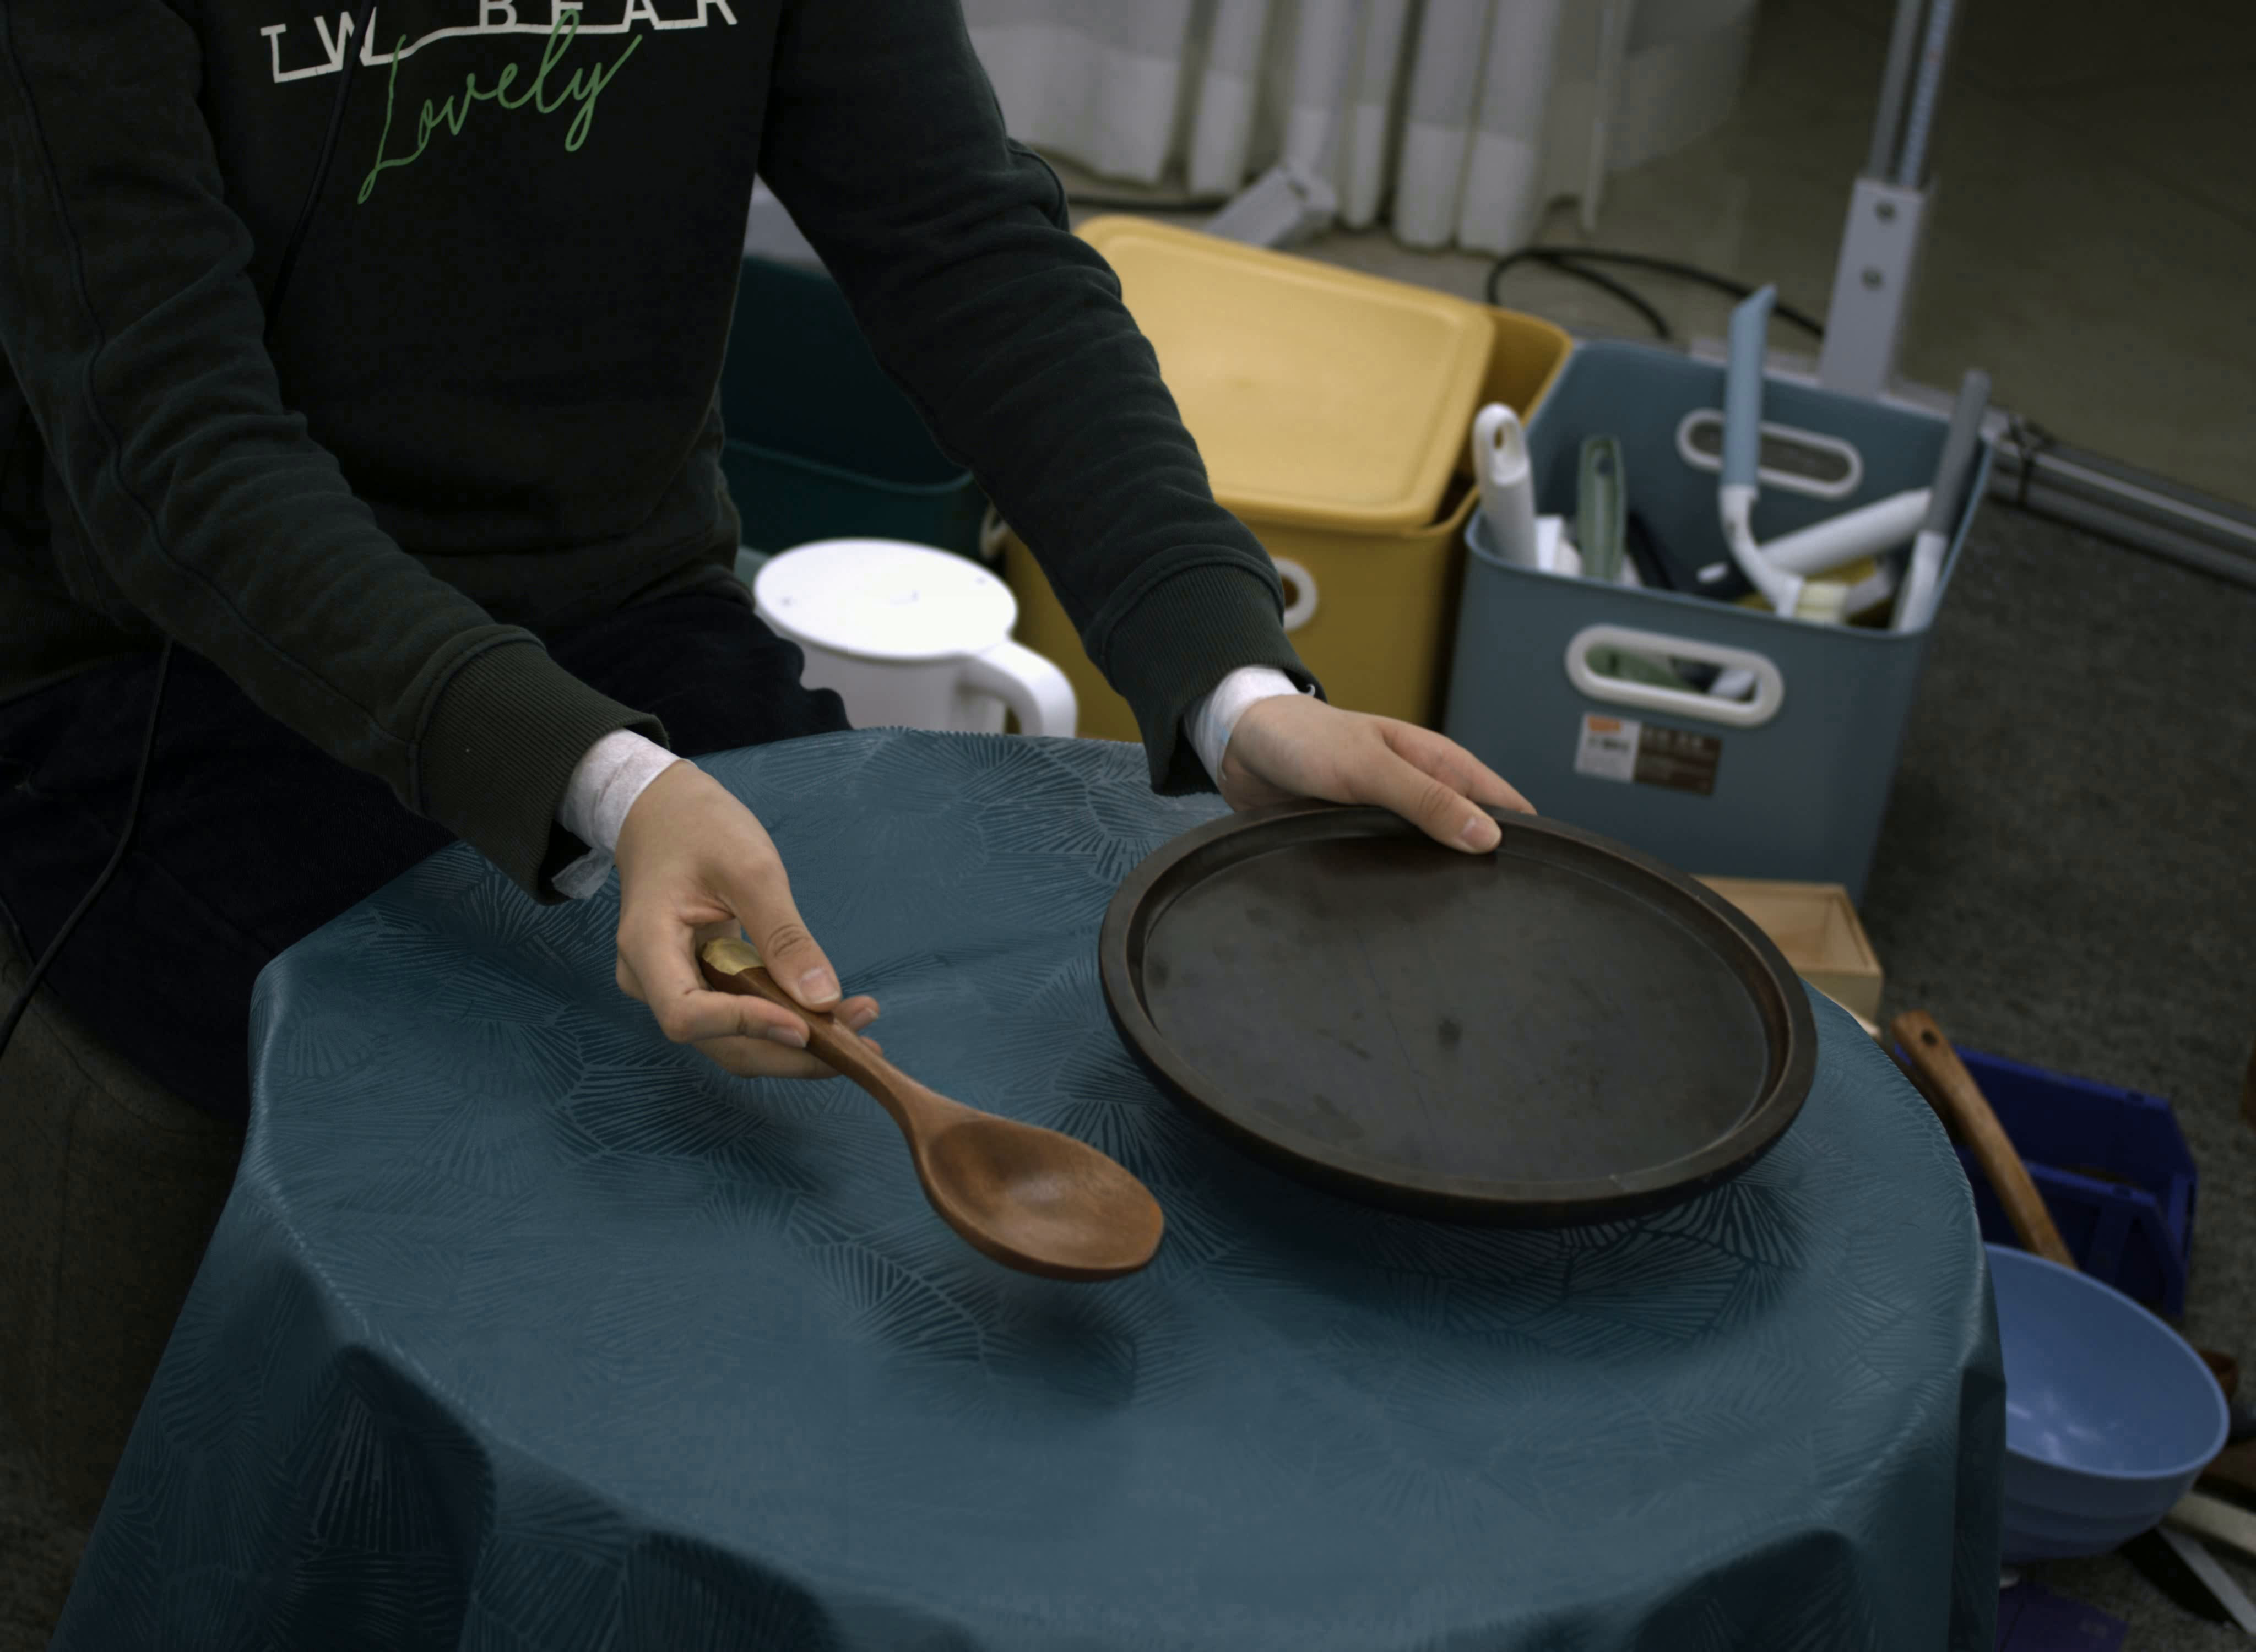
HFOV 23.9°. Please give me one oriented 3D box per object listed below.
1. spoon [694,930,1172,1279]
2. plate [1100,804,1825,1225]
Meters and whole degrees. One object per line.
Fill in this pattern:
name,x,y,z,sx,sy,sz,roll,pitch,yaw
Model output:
spoon,-0.070,0.092,1.752,0.075,0.017,0.217,-15,39,-42
plate,0.114,0.063,1.841,0.254,0.029,0.256,7,31,-4
